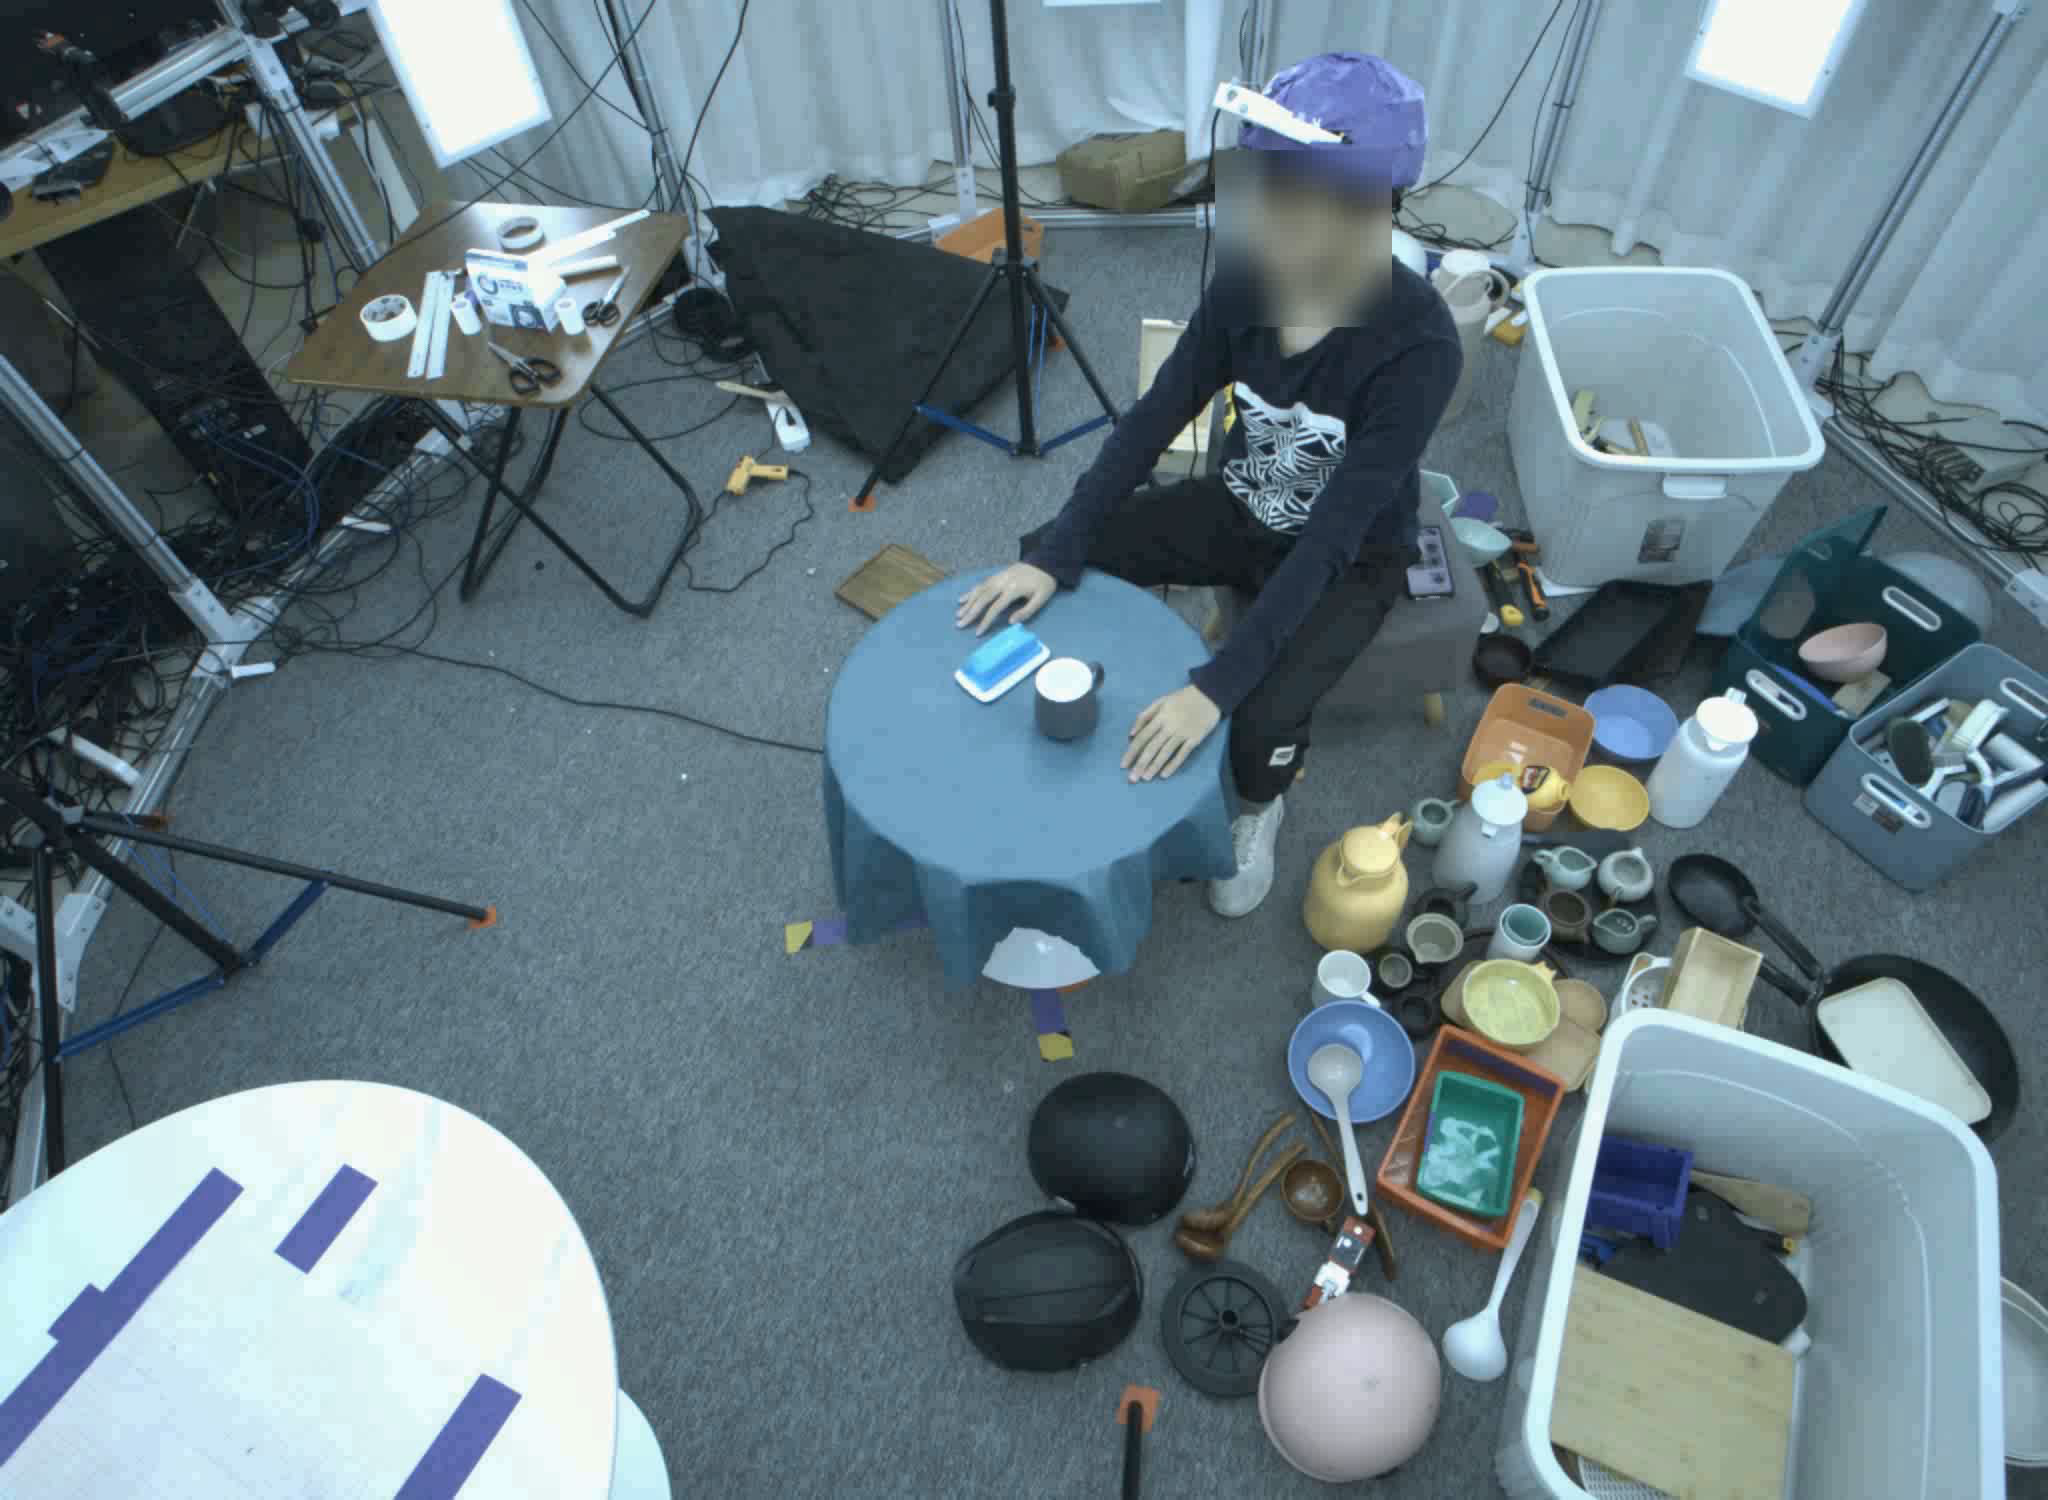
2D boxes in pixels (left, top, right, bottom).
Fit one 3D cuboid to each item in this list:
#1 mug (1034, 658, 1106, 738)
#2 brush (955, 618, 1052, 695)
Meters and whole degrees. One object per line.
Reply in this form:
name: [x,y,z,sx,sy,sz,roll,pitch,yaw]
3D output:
mug: [0.071,-0.083,1.777,0.124,0.091,0.092,-39,63,-20]
brush: [-0.031,-0.149,1.850,0.145,0.056,0.082,-37,64,-19]
